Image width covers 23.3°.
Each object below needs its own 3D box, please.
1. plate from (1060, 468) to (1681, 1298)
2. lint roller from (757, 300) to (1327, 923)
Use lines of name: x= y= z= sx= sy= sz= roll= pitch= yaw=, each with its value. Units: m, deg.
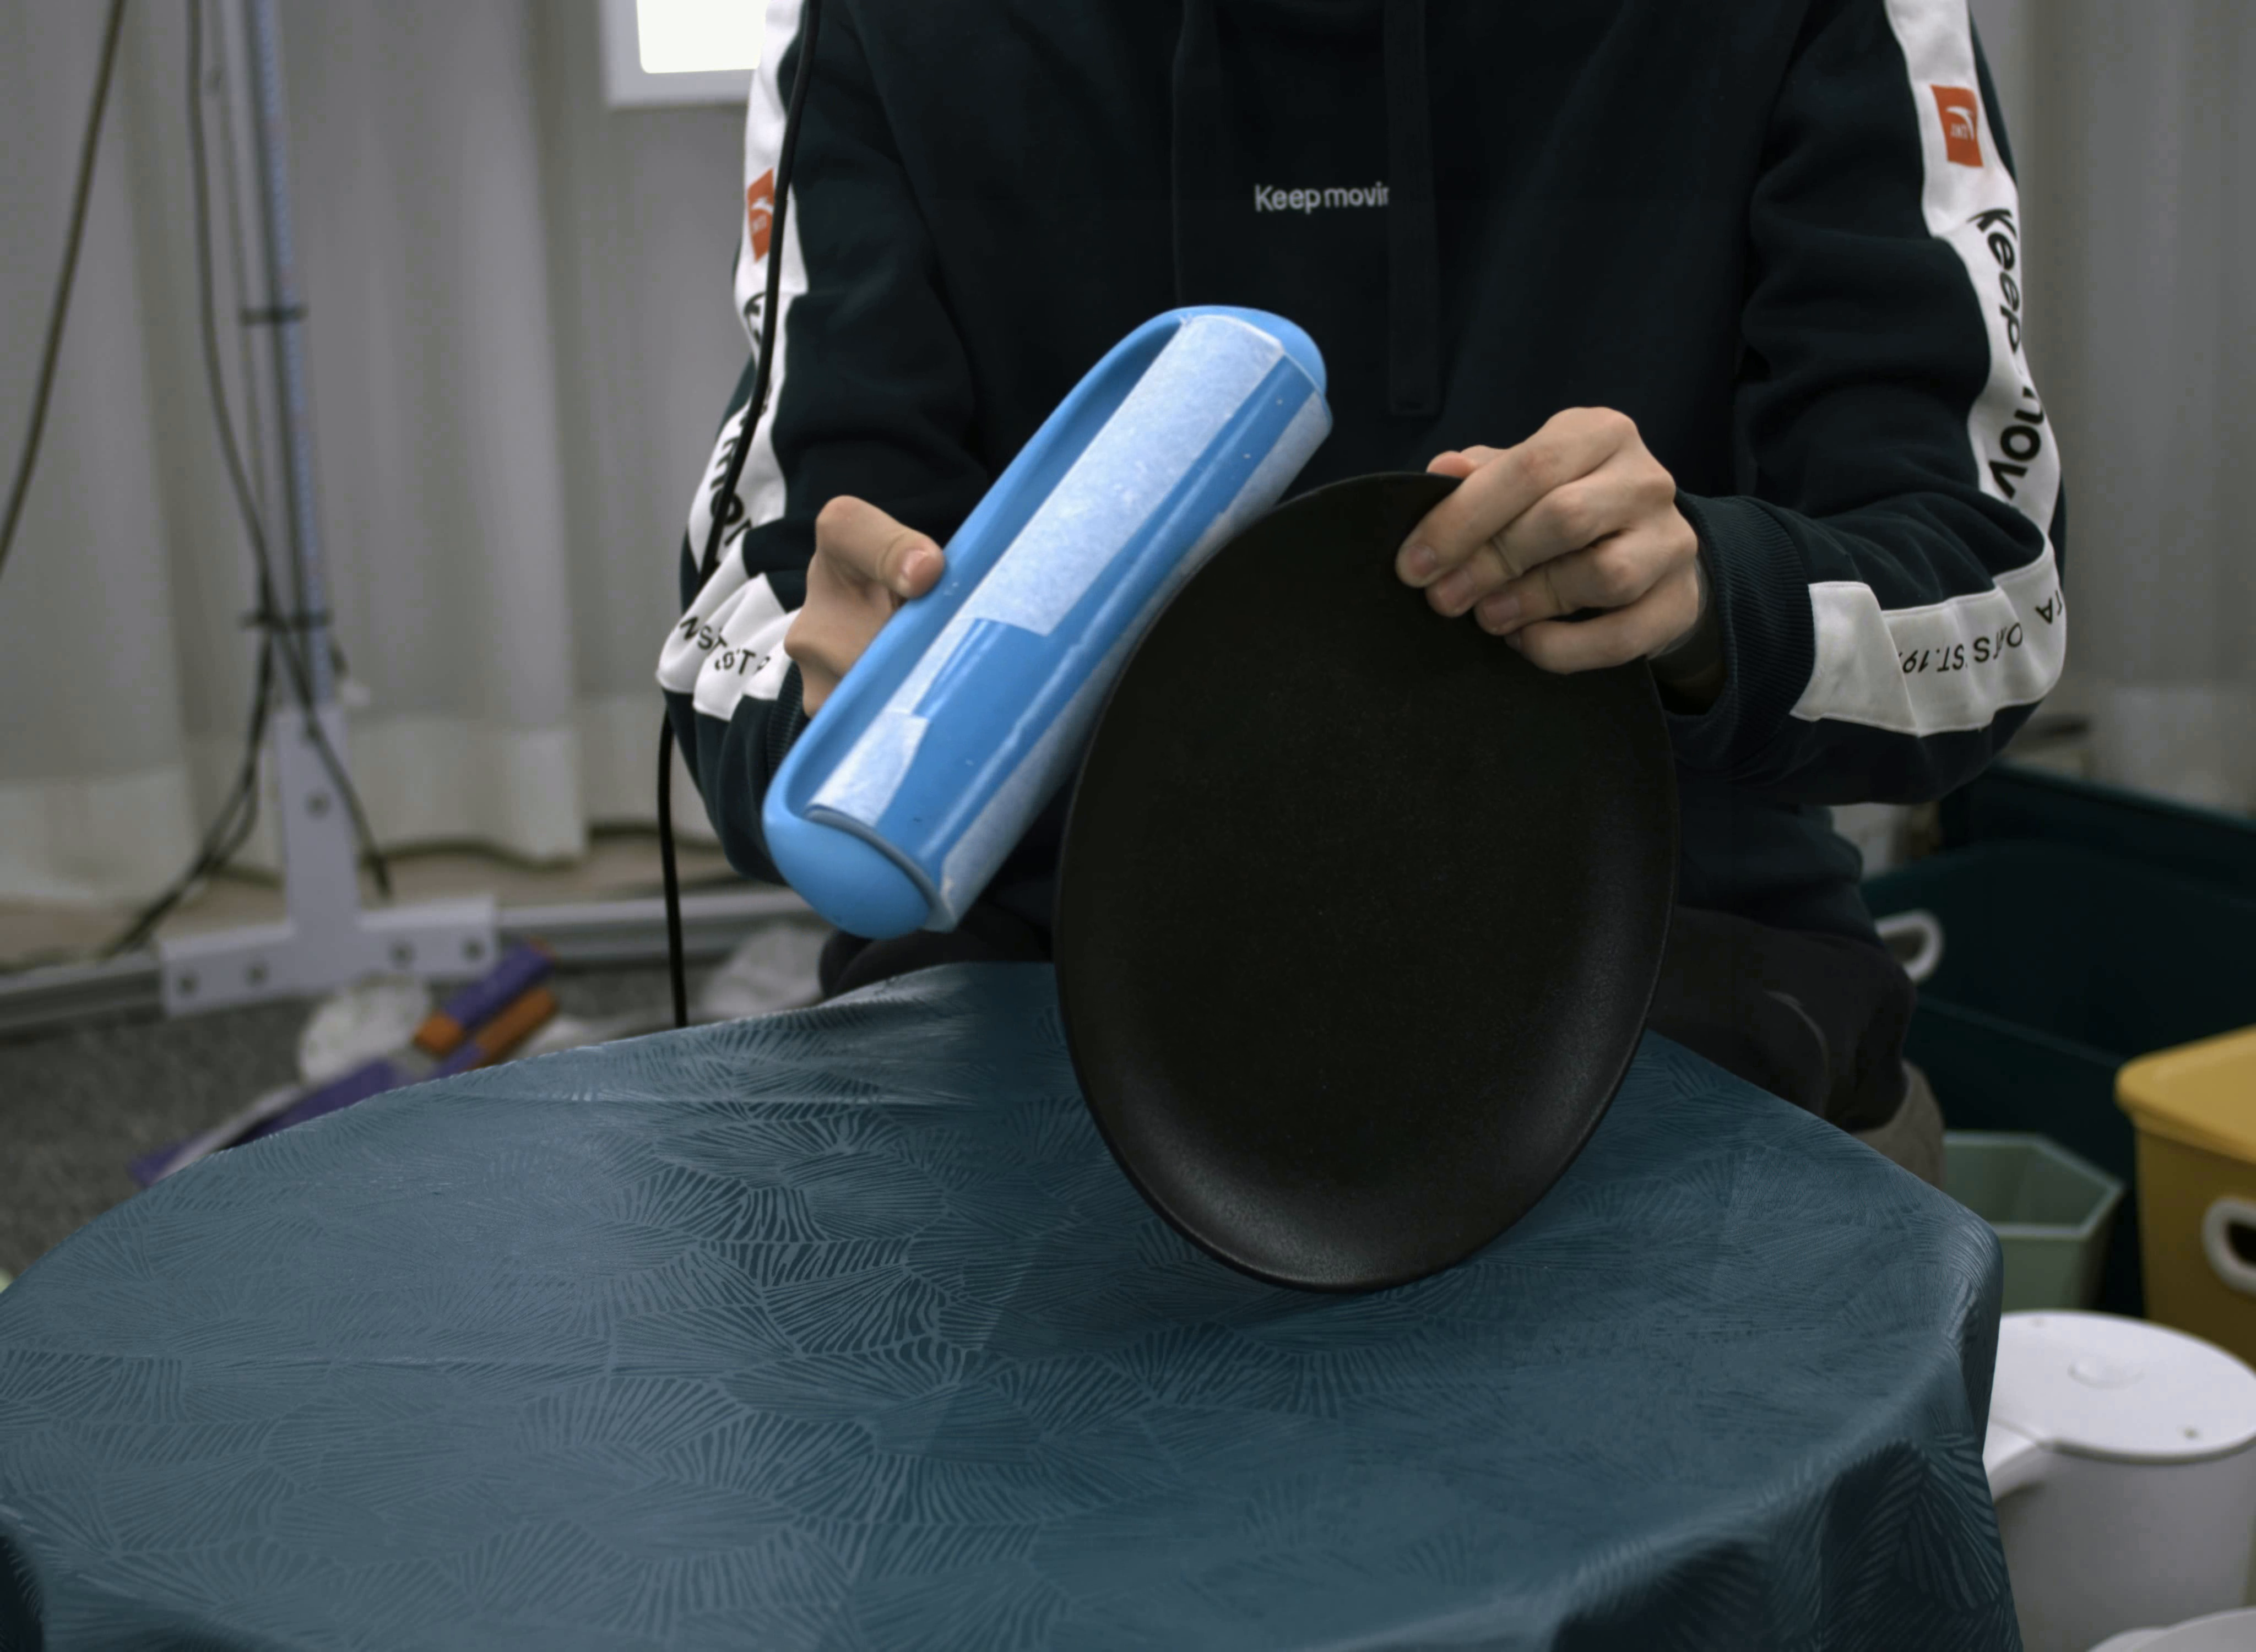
plate: x=0.069 y=0.016 z=1.605 sx=0.243 sy=0.244 sz=0.023 roll=-14 pitch=14 yaw=-38
lint roller: x=-0.040 y=-0.050 z=1.616 sx=0.230 sy=0.067 sz=0.179 roll=-54 pitch=9 yaw=-24
